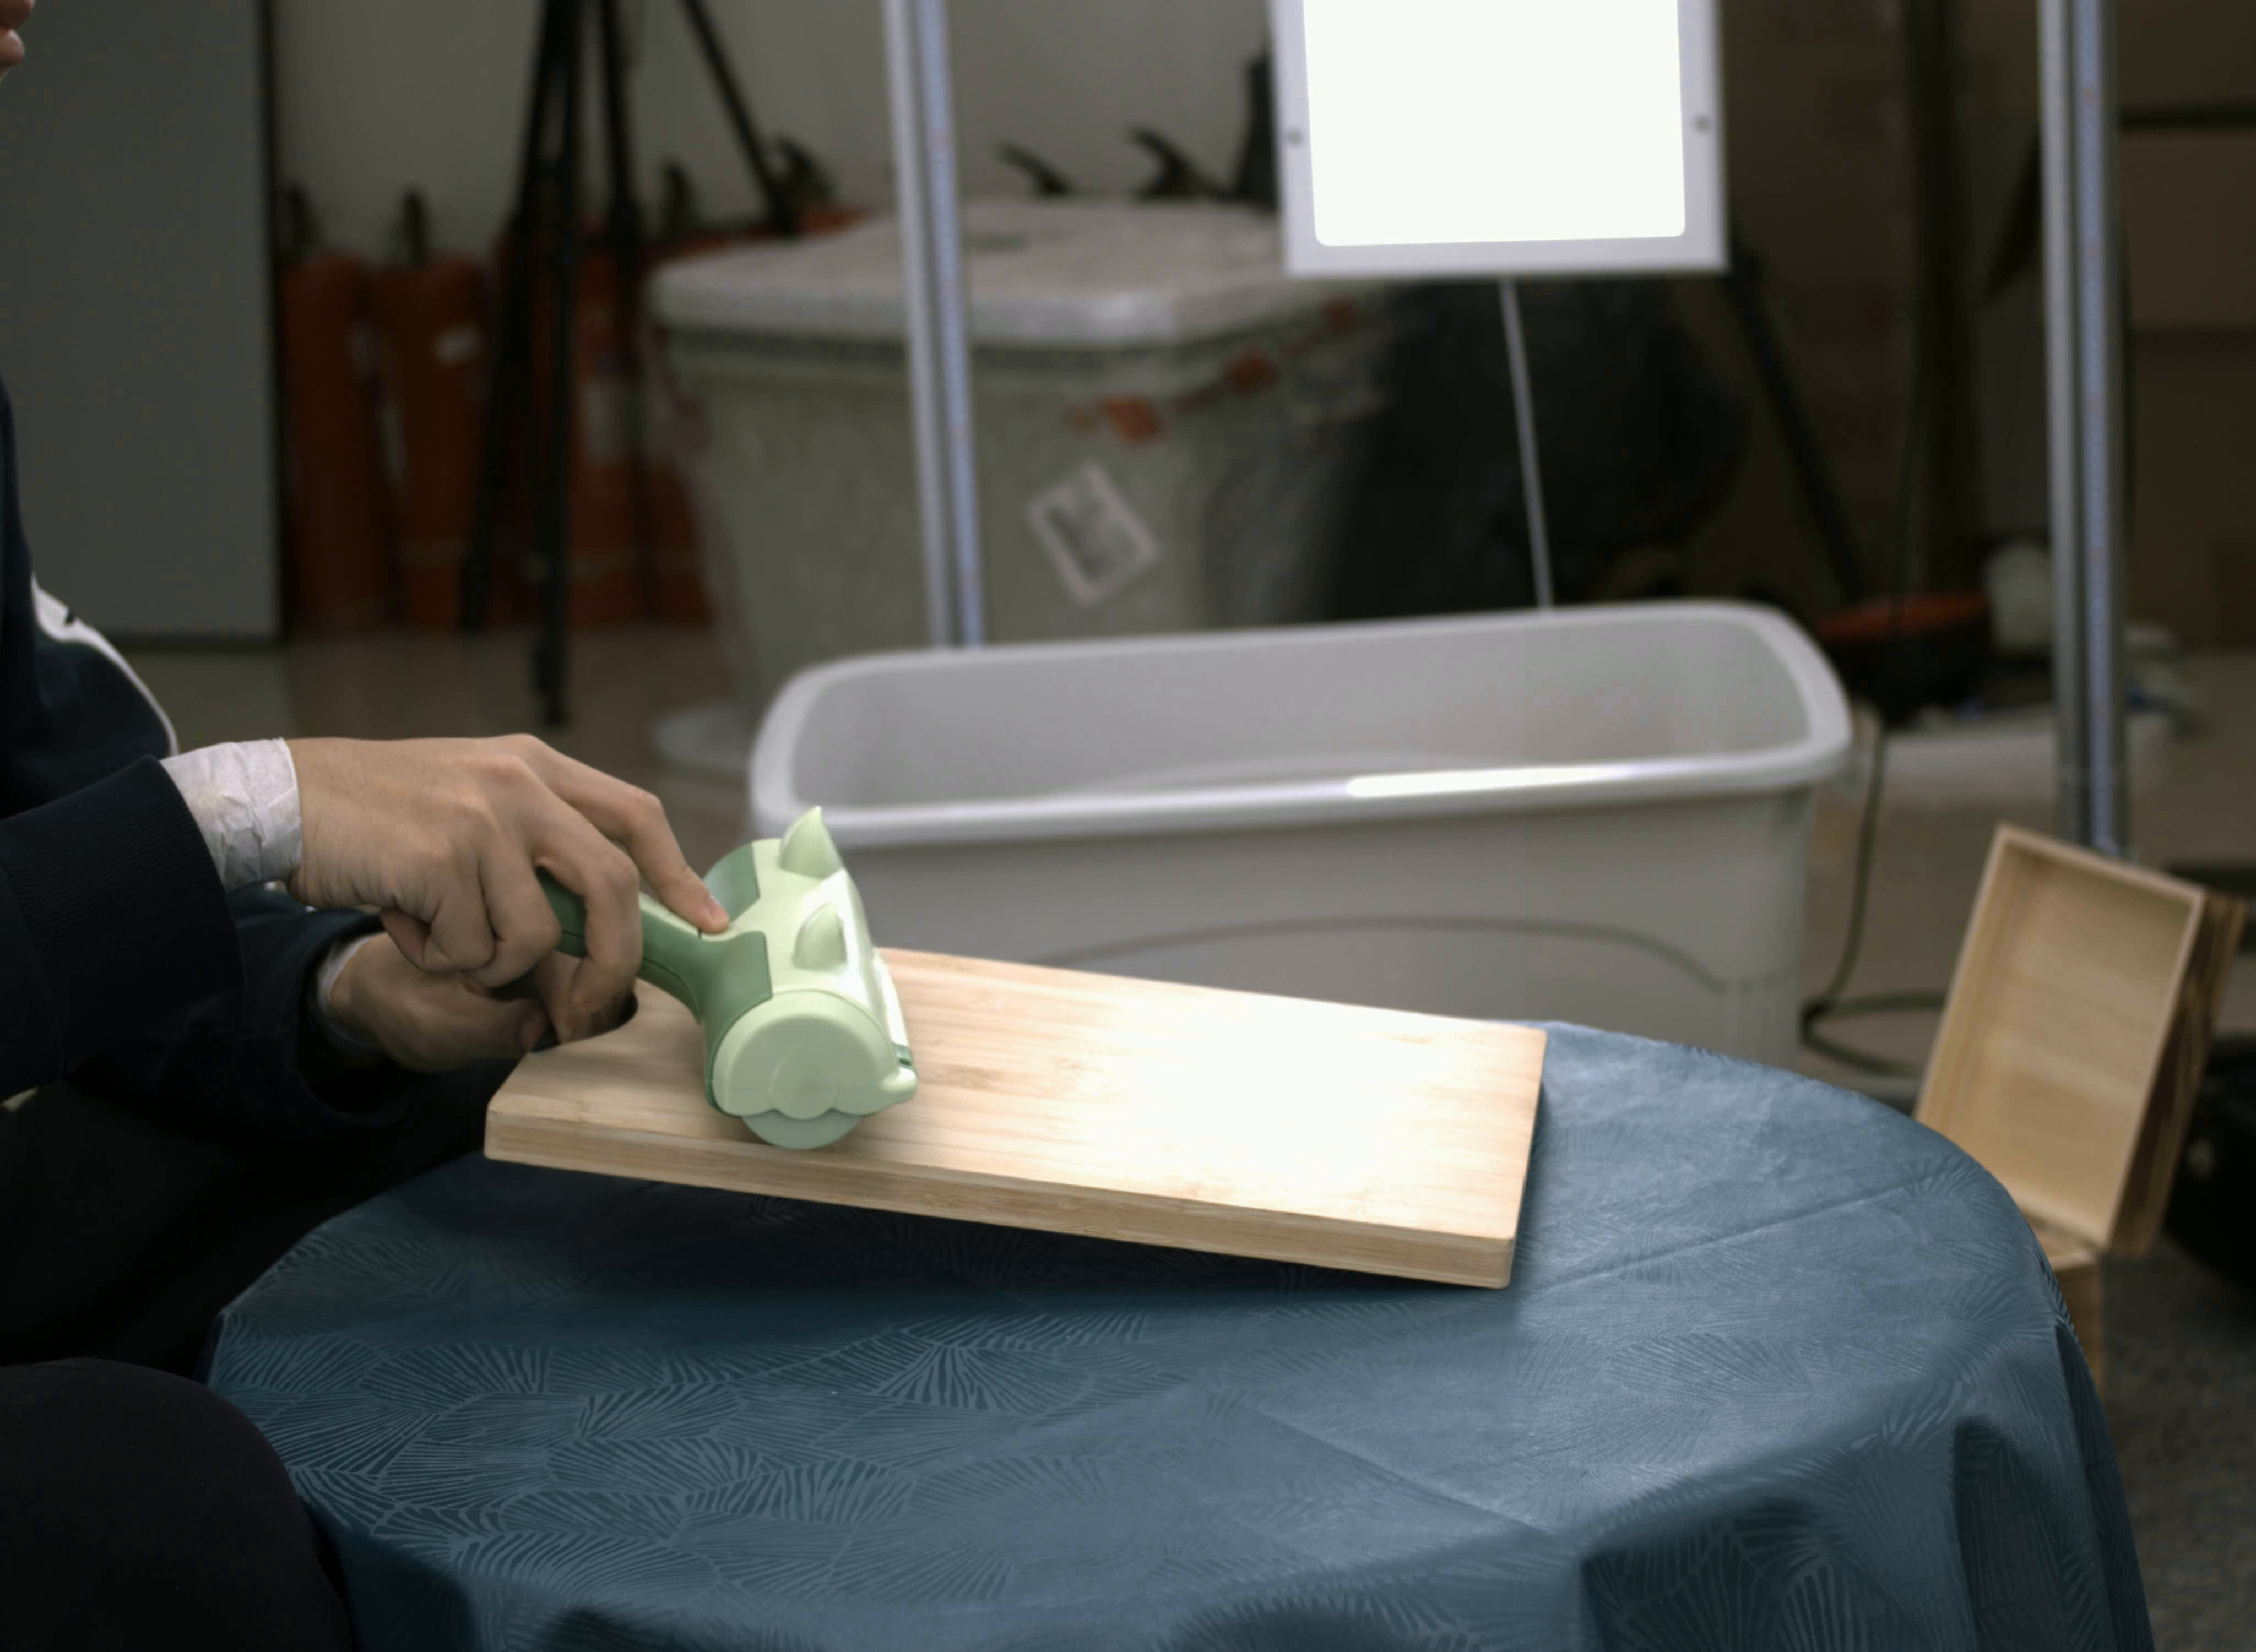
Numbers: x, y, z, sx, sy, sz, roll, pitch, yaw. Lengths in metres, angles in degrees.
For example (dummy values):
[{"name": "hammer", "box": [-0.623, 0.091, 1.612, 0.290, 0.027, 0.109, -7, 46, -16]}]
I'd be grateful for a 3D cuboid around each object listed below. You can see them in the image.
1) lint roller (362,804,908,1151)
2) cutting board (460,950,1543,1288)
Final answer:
[{"name": "lint roller", "box": [-0.159, 0.024, 1.846, 0.182, 0.083, 0.199, 27, 12, -11]}, {"name": "cutting board", "box": [-0.034, 0.092, 1.897, 0.349, 0.024, 0.248, 6, 15, 7]}]
